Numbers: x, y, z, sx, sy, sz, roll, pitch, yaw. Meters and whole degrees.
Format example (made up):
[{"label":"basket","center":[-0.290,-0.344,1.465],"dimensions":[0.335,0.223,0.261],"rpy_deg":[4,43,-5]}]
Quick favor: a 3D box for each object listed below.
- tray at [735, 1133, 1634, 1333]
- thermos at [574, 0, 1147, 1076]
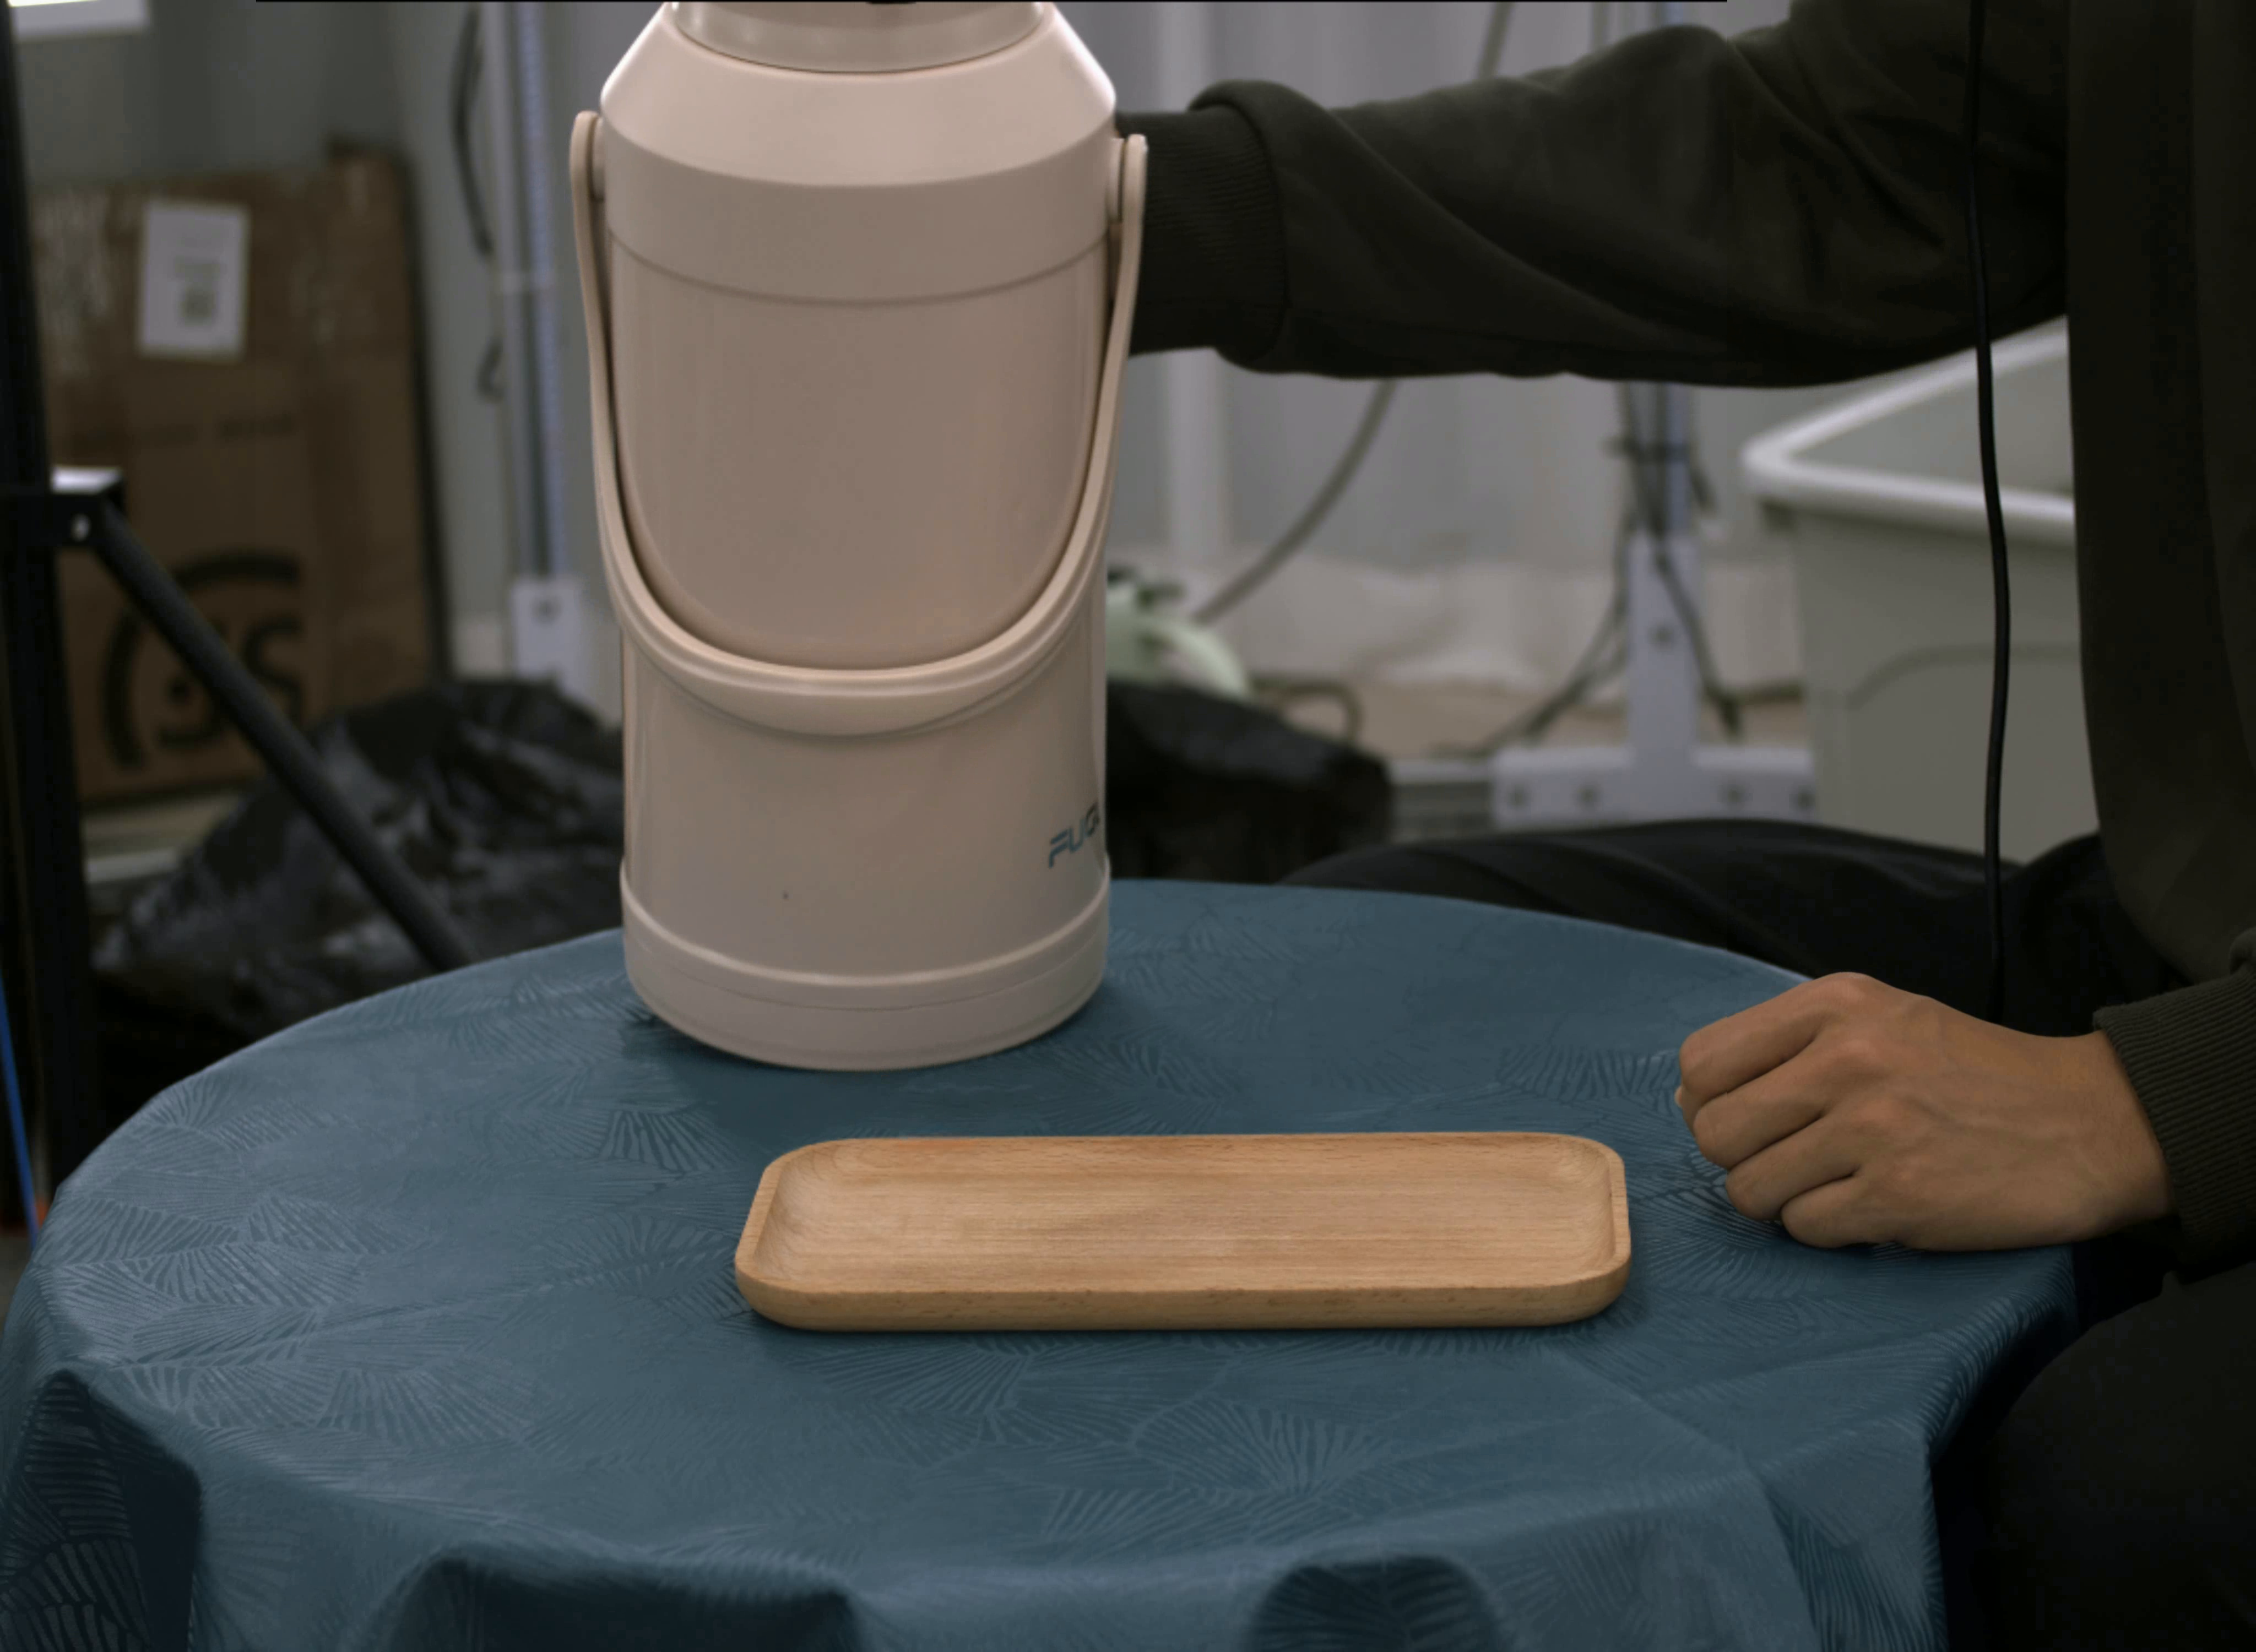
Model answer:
[{"label":"tray","center":[0.018,0.115,1.503],"dimensions":[0.251,0.023,0.130],"rpy_deg":[0,18,6]},{"label":"thermos","center":[-0.079,-0.140,1.675],"dimensions":[0.175,0.405,0.207],"rpy_deg":[2,25,5]}]
